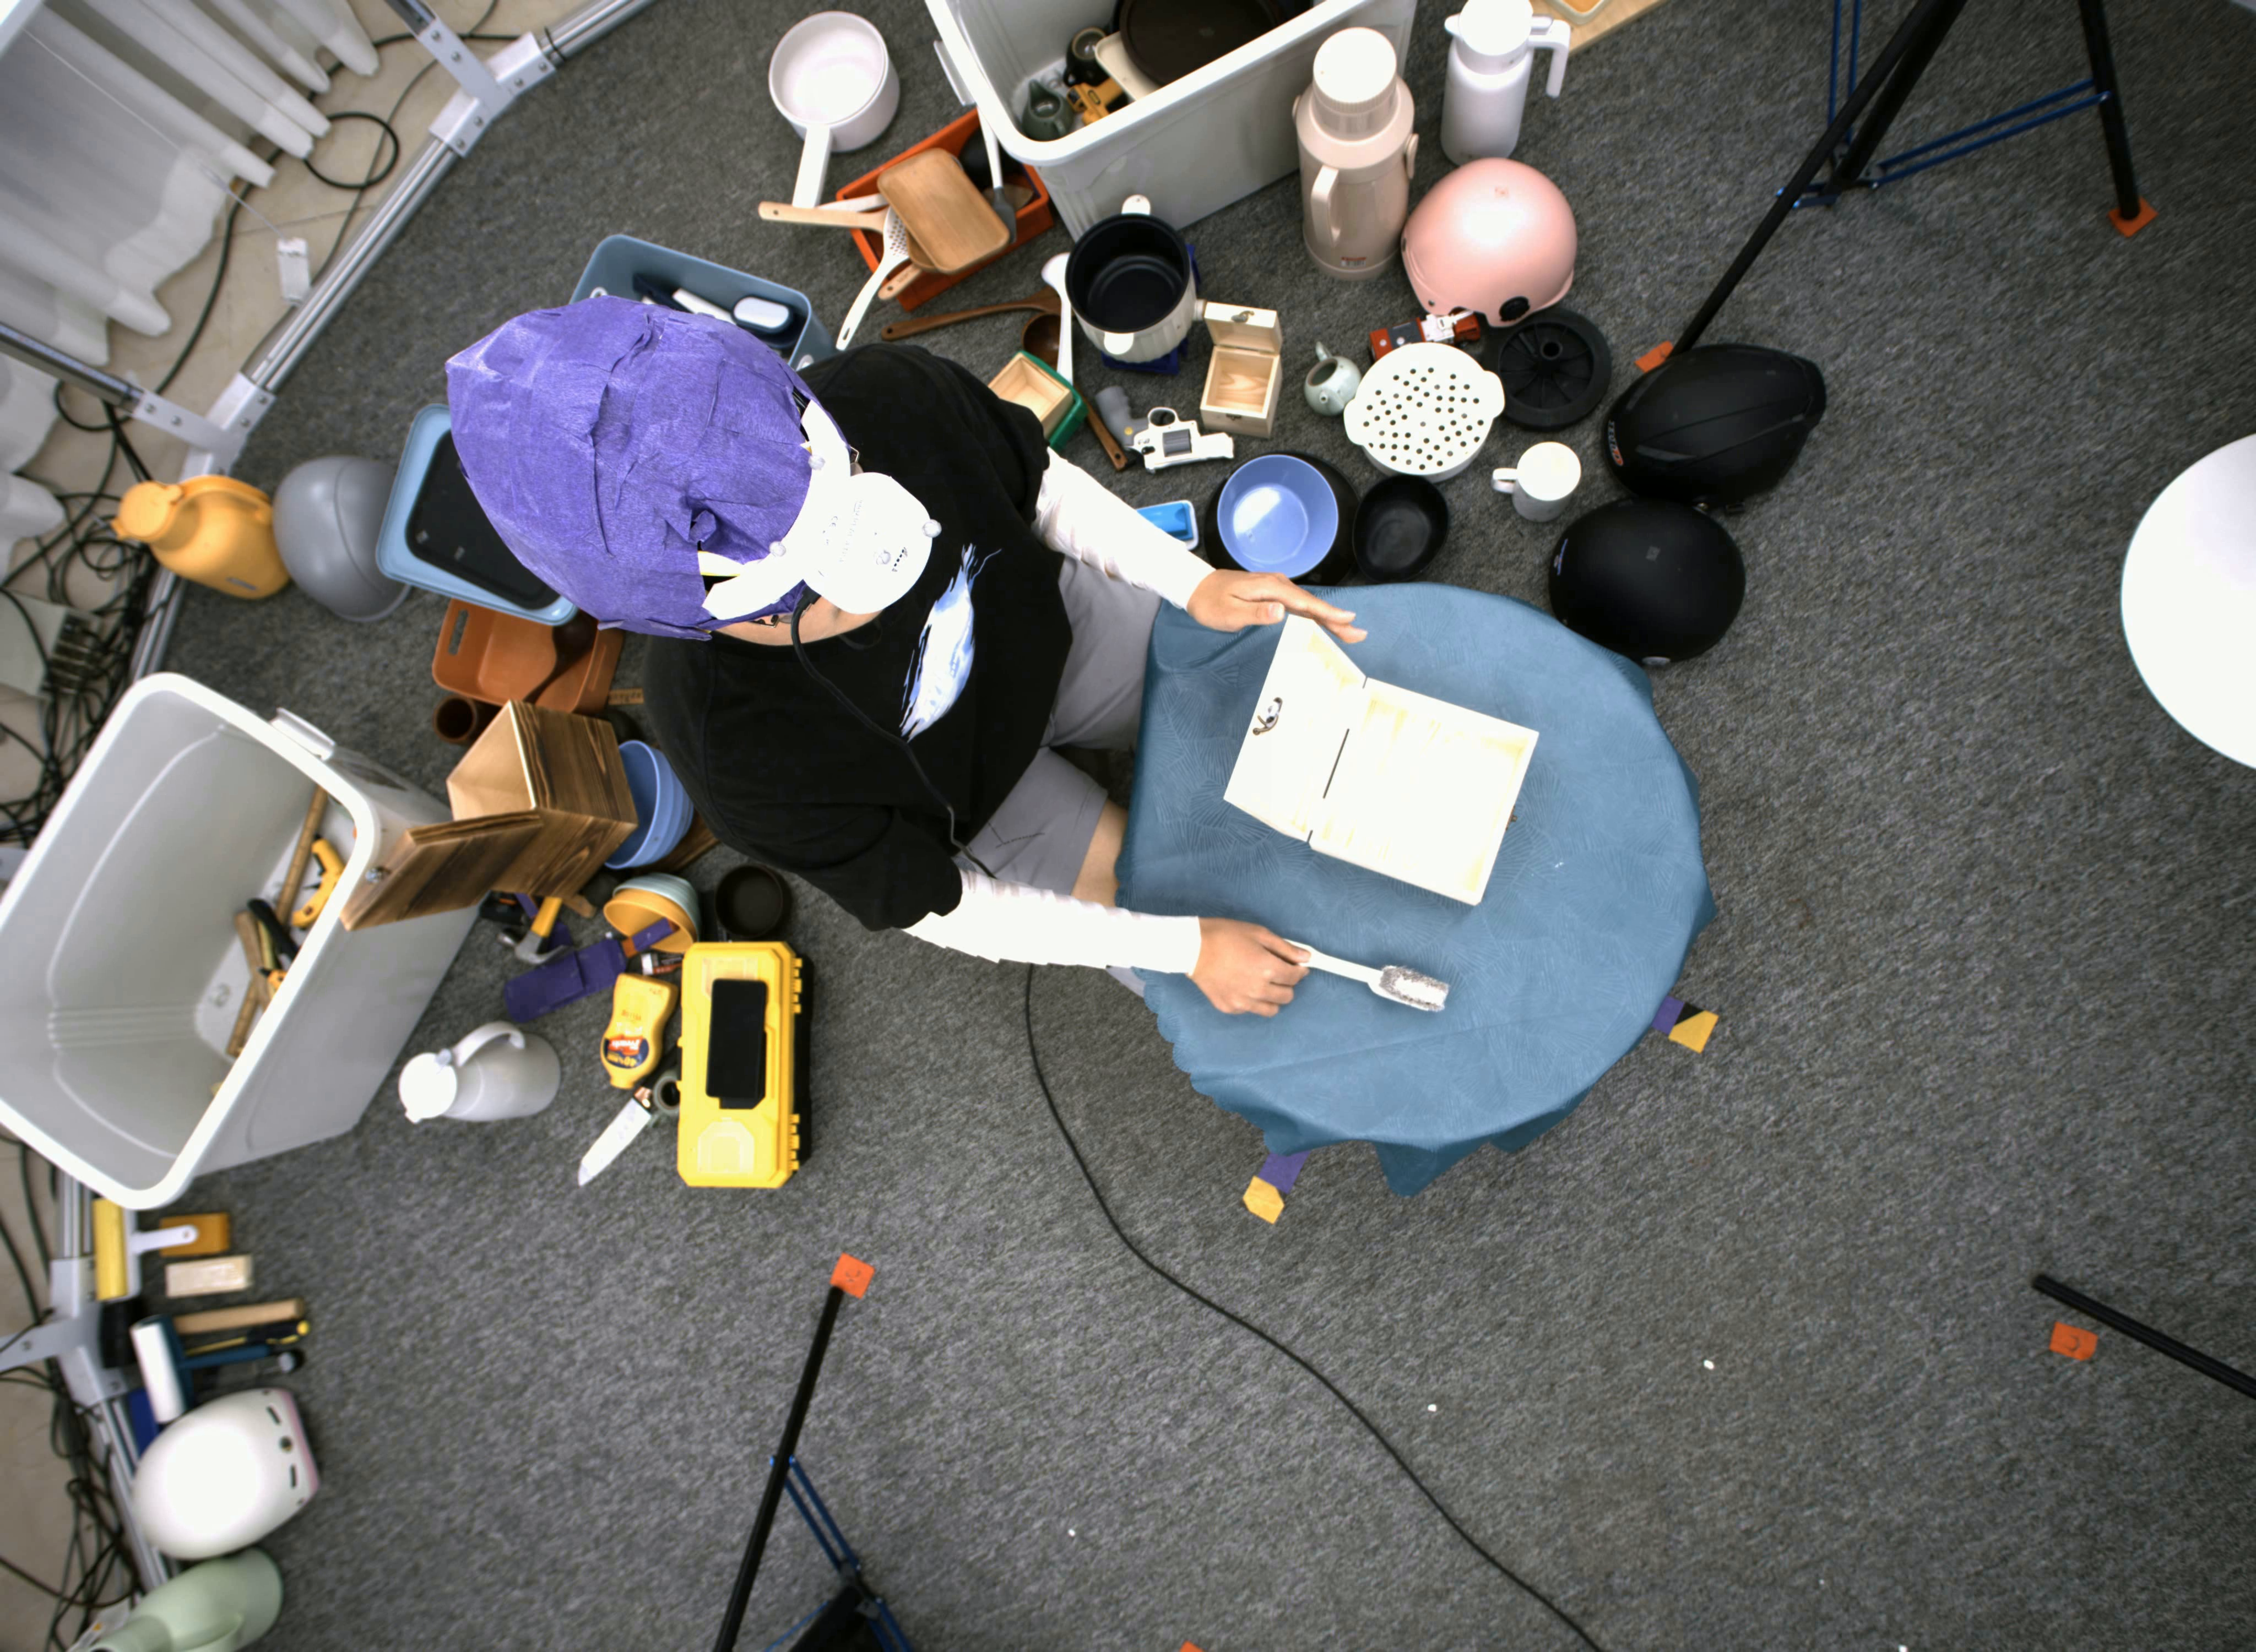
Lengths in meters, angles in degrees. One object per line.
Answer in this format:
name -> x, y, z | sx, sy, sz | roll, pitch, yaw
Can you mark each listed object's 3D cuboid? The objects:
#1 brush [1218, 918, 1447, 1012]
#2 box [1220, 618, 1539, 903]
brush -> 0.210, 0.140, 1.435 | 0.244, 0.050, 0.034 | 19, 83, 8
box -> 0.256, -0.055, 1.342 | 0.265, 0.253, 0.182 | 19, 90, 12
